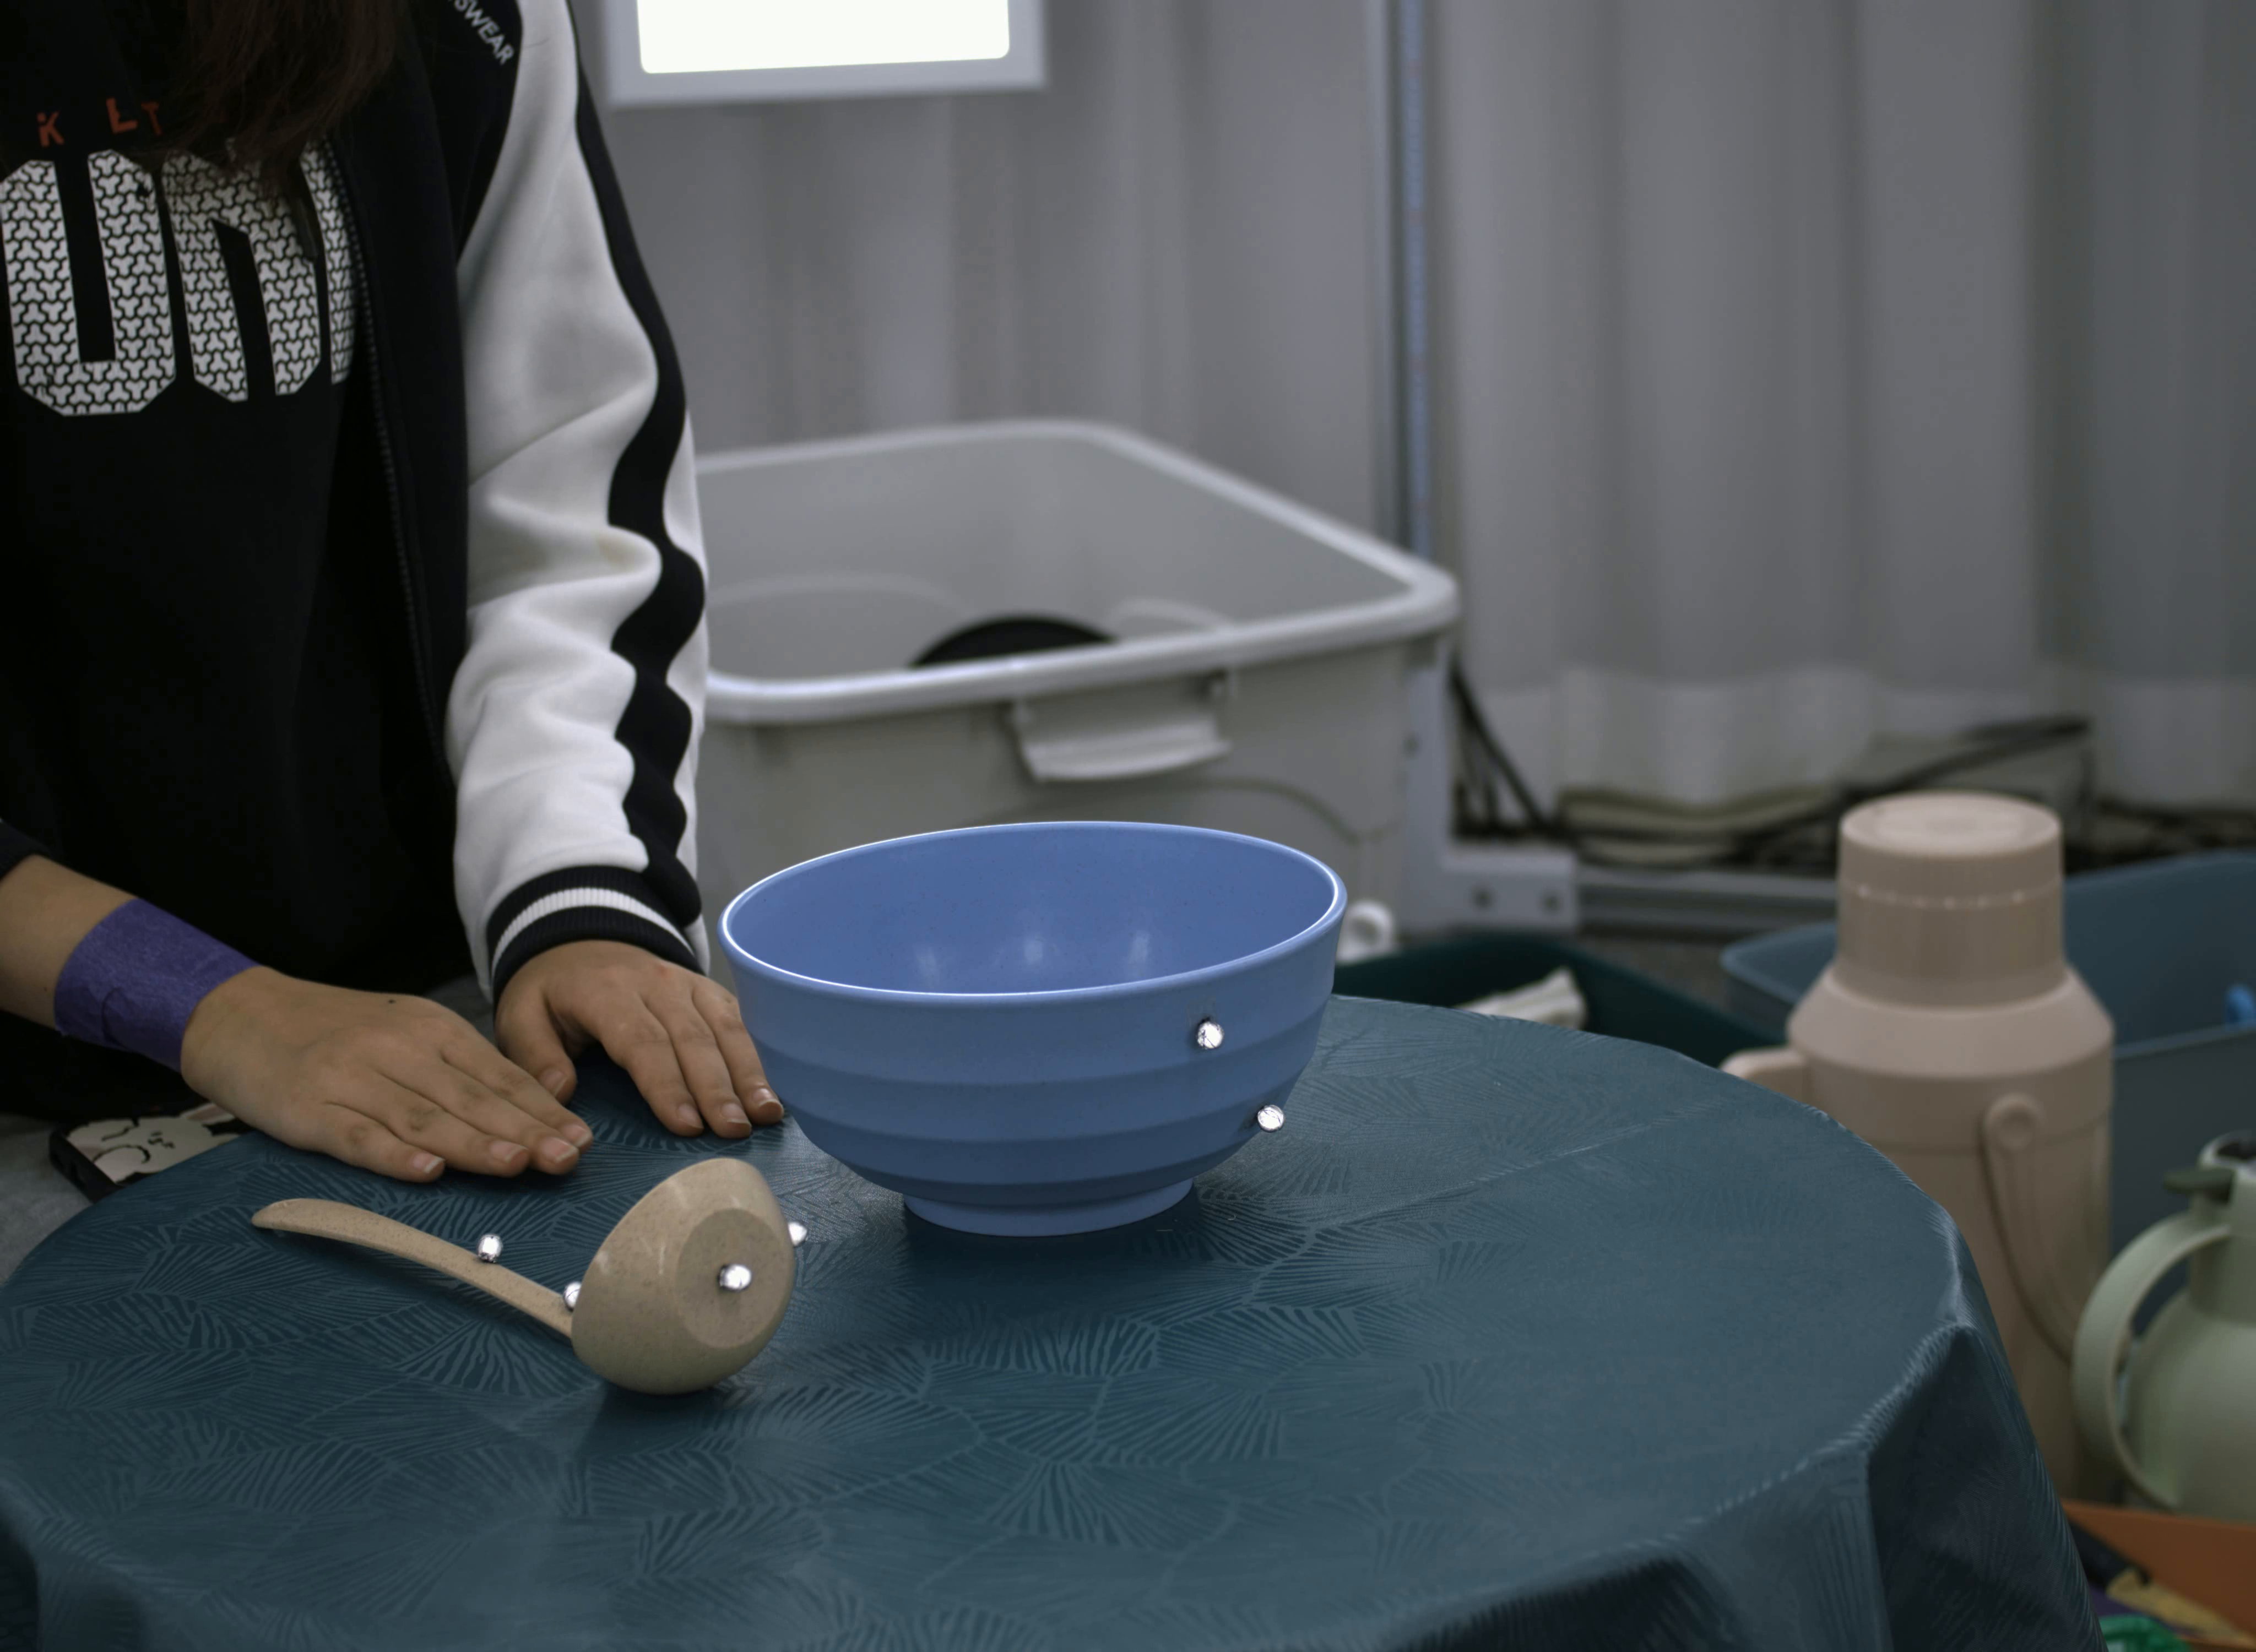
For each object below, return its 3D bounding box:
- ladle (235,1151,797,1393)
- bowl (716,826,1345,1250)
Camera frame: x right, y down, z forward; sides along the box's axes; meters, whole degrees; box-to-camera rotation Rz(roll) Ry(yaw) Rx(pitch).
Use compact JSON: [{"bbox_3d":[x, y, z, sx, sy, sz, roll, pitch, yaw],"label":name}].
[{"bbox_3d":[-0.195,0.111,1.625,0.072,0.072,0.256,-23,24,-39],"label":"ladle"},{"bbox_3d":[-0.027,0.072,1.709,0.196,0.095,0.198,-4,15,1],"label":"bowl"}]
